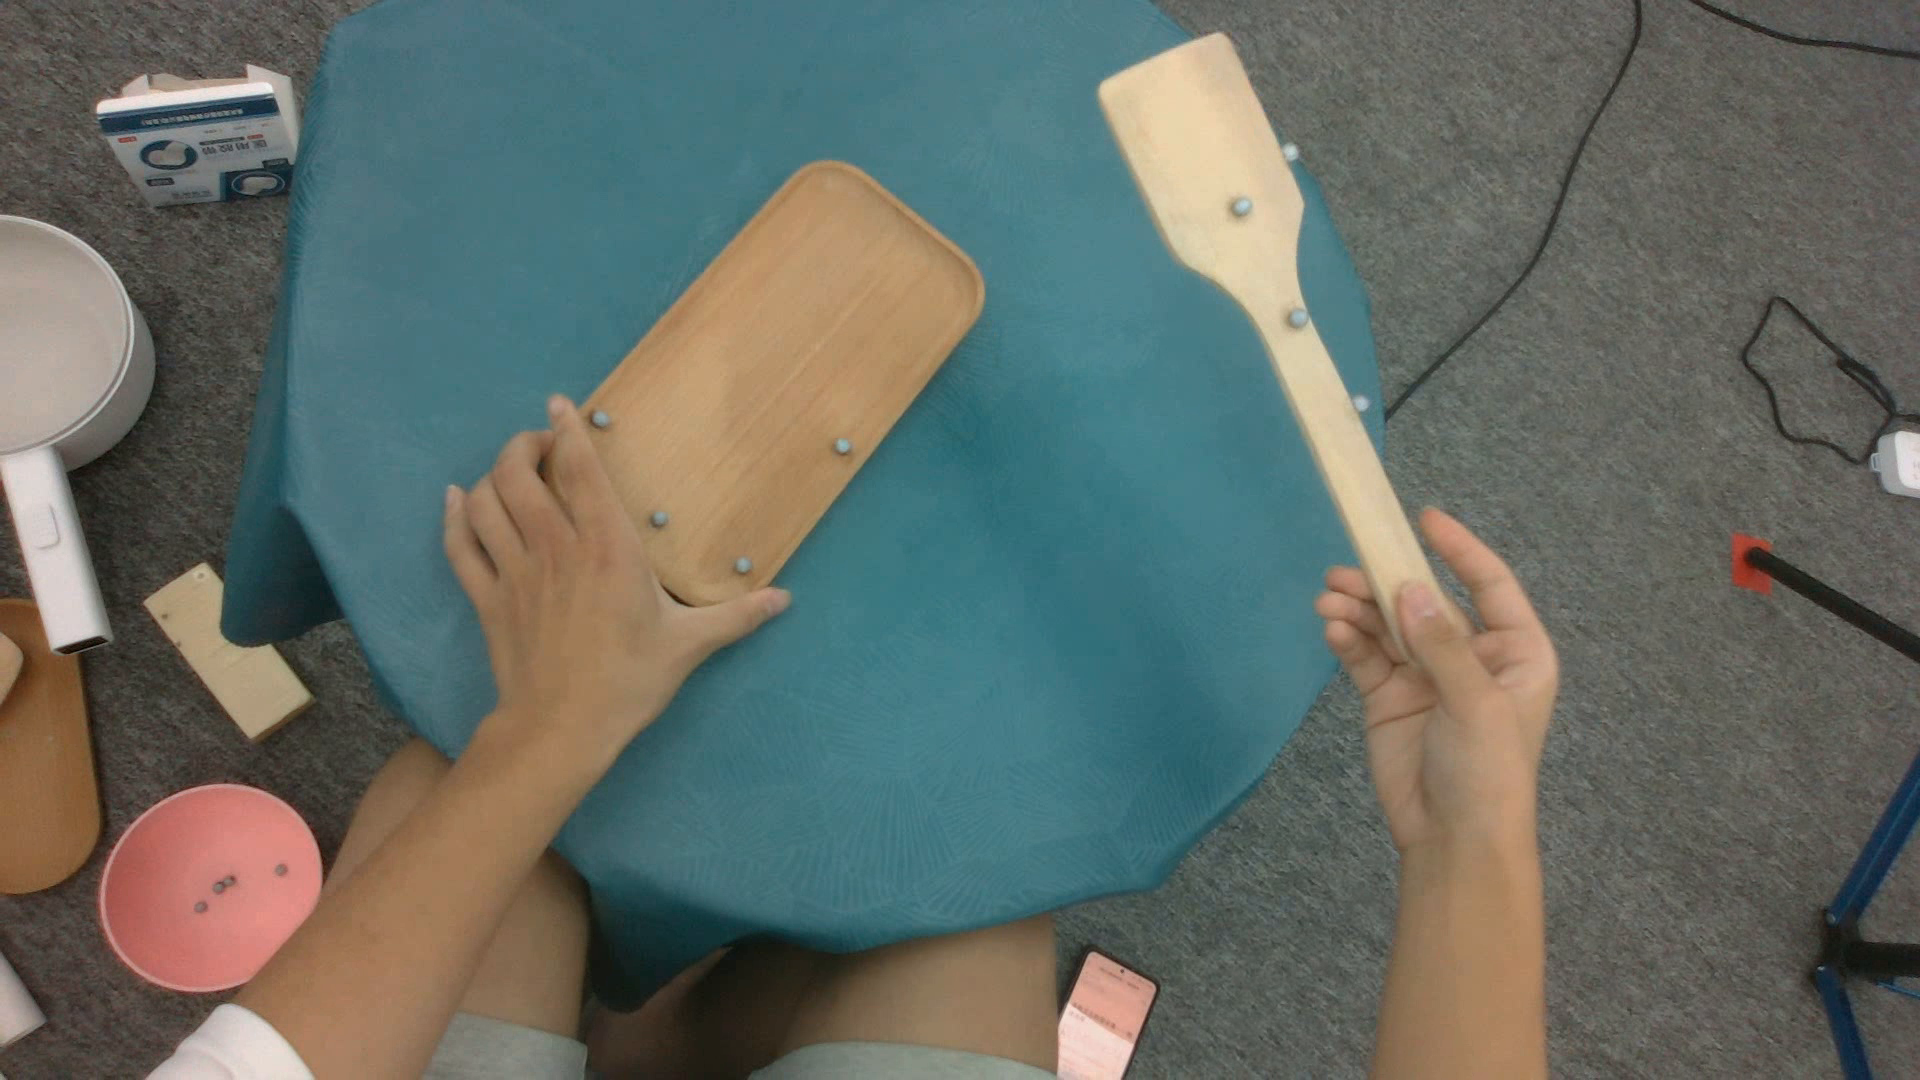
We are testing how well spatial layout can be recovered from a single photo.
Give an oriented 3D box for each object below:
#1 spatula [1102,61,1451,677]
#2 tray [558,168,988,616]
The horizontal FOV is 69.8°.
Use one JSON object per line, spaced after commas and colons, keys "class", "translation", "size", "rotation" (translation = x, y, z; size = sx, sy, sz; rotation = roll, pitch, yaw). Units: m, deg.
{"class": "spatula", "translation": [0.152, -0.073, 0.619], "size": [0.072, 0.010, 0.293], "rotation": [-26, 91, -17]}
{"class": "tray", "translation": [-0.095, -0.084, 0.738], "size": [0.130, 0.023, 0.251], "rotation": [38, 70, -5]}
